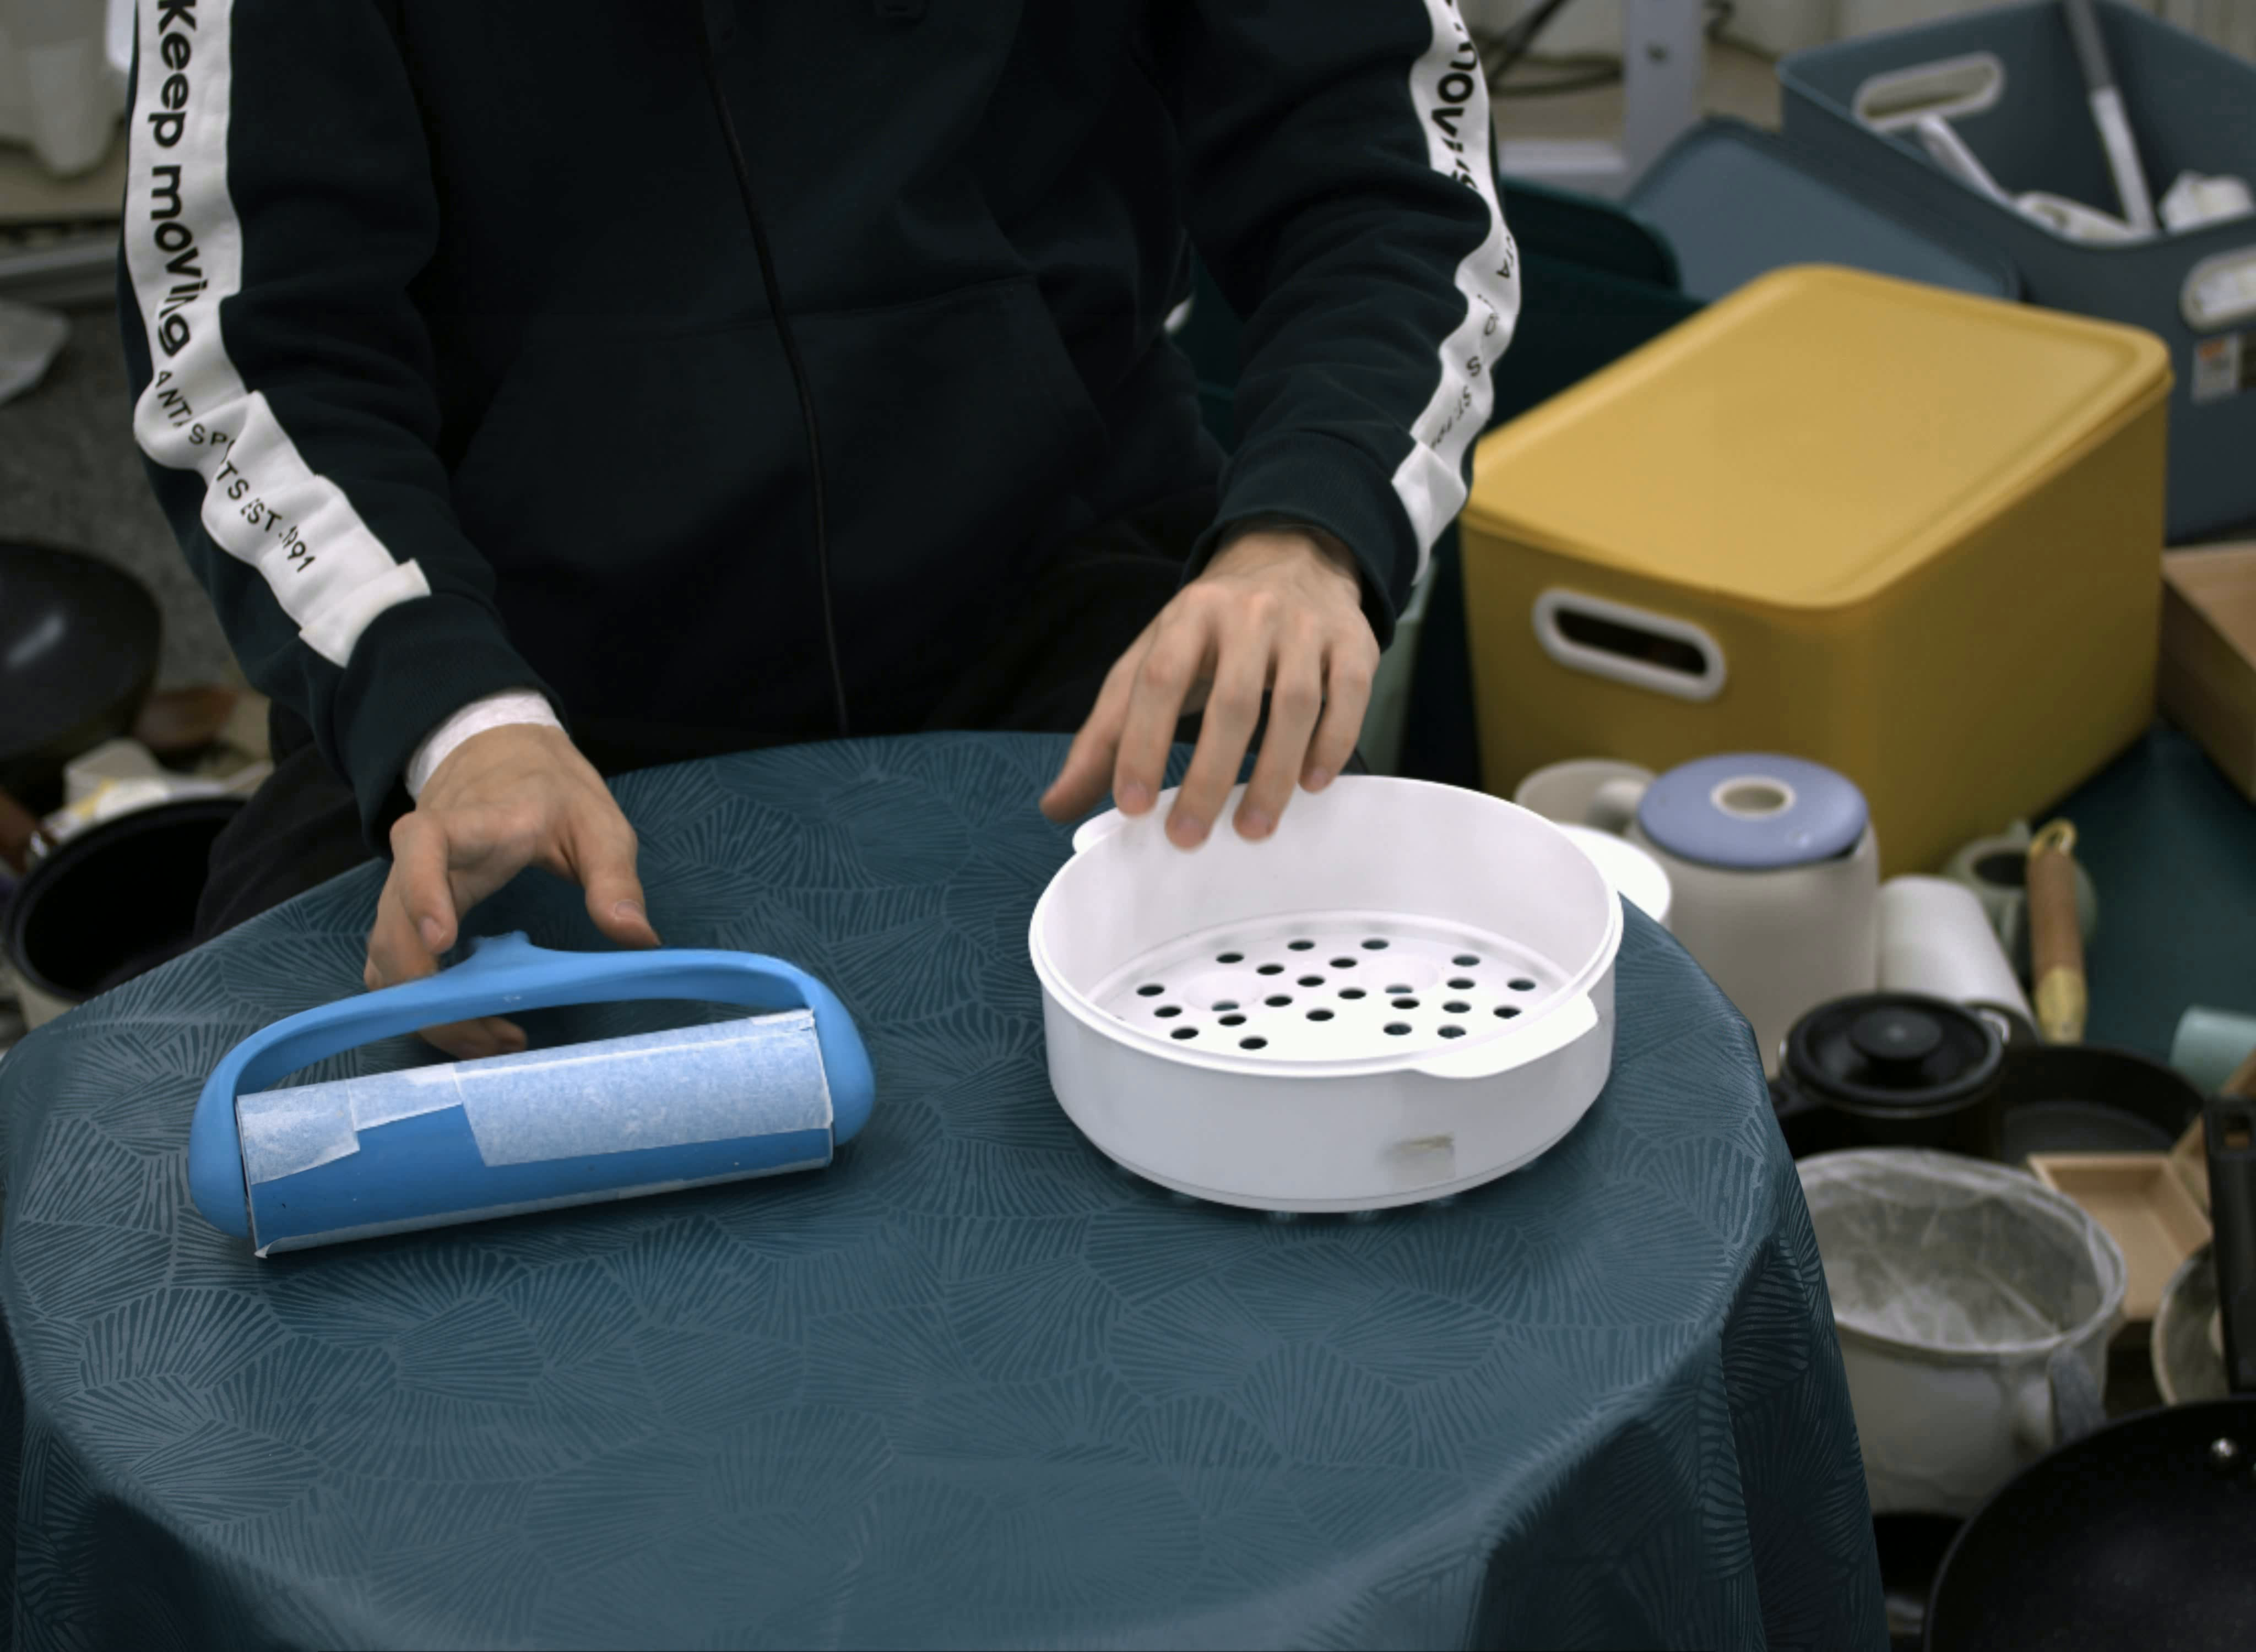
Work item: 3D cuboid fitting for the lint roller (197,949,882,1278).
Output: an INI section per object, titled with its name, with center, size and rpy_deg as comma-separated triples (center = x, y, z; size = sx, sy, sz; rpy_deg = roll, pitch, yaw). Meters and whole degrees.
[lint roller]
center = -0.210, 0.077, 1.908
size = 0.229, 0.067, 0.182
rpy_deg = -12, 30, -13

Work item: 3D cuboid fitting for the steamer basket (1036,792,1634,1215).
[steamer basket]
center = 0.071, 0.060, 1.899
size = 0.203, 0.068, 0.231
rpy_deg = -19, 30, -31
